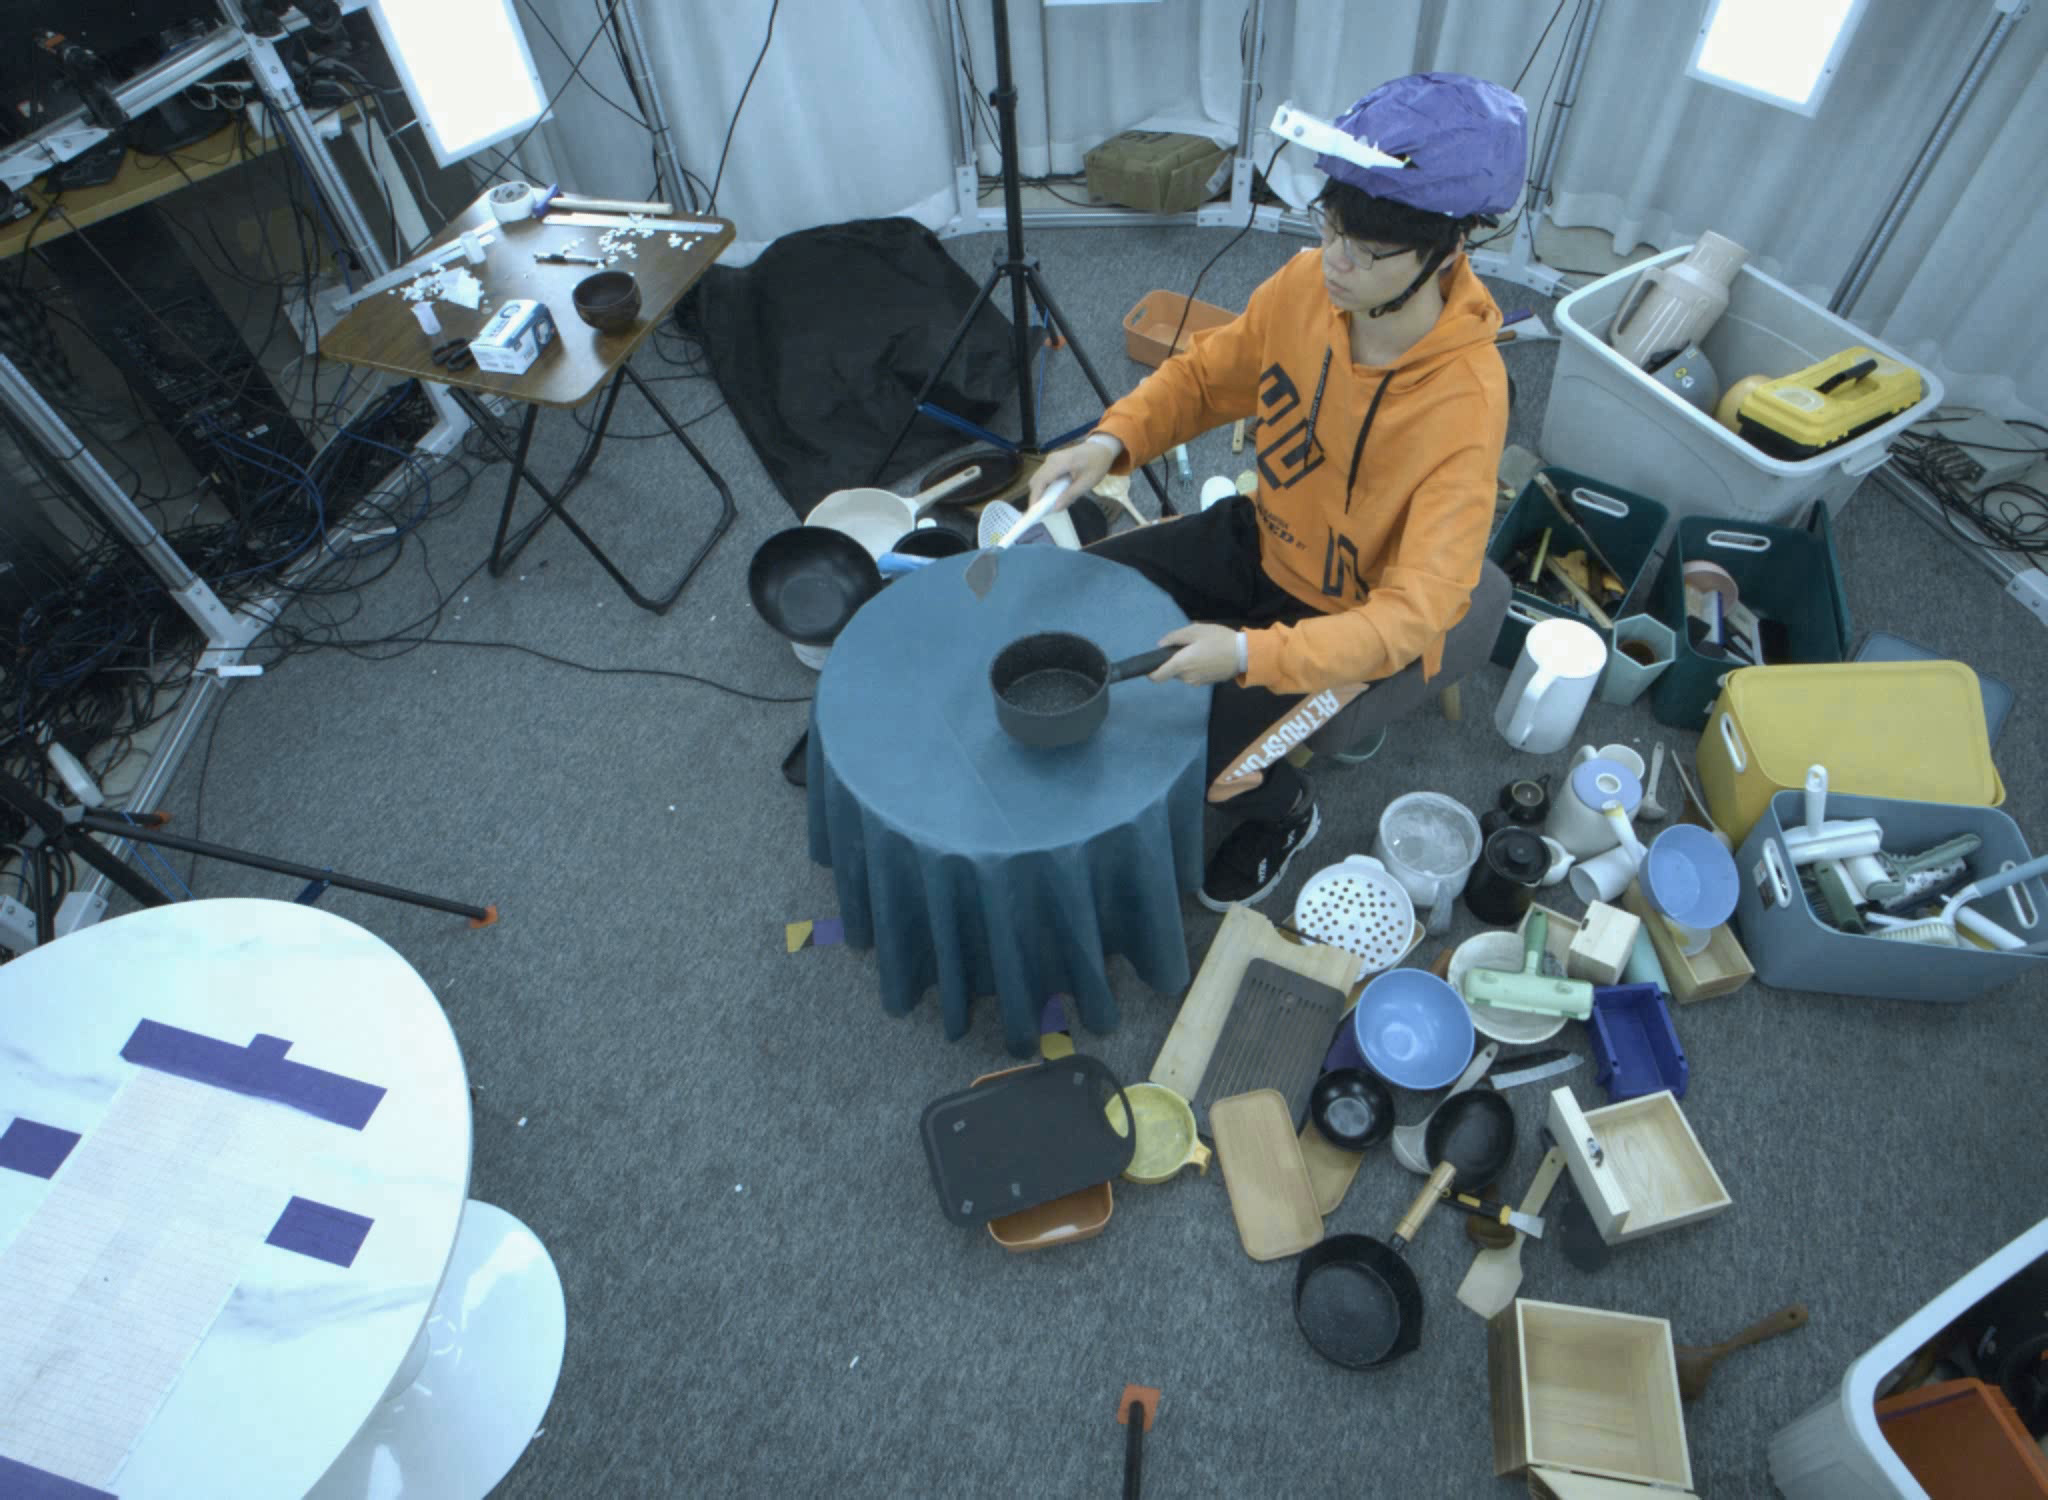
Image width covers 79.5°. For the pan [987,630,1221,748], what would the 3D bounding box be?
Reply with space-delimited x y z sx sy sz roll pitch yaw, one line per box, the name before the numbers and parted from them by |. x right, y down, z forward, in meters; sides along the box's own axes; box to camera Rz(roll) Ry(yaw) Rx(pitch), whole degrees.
pan | 0.115 -0.099 1.741 0.329 0.087 0.169 -9 49 -2

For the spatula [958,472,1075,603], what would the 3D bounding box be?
spatula | -0.011 -0.321 1.820 0.031 0.059 0.289 -3 40 47
